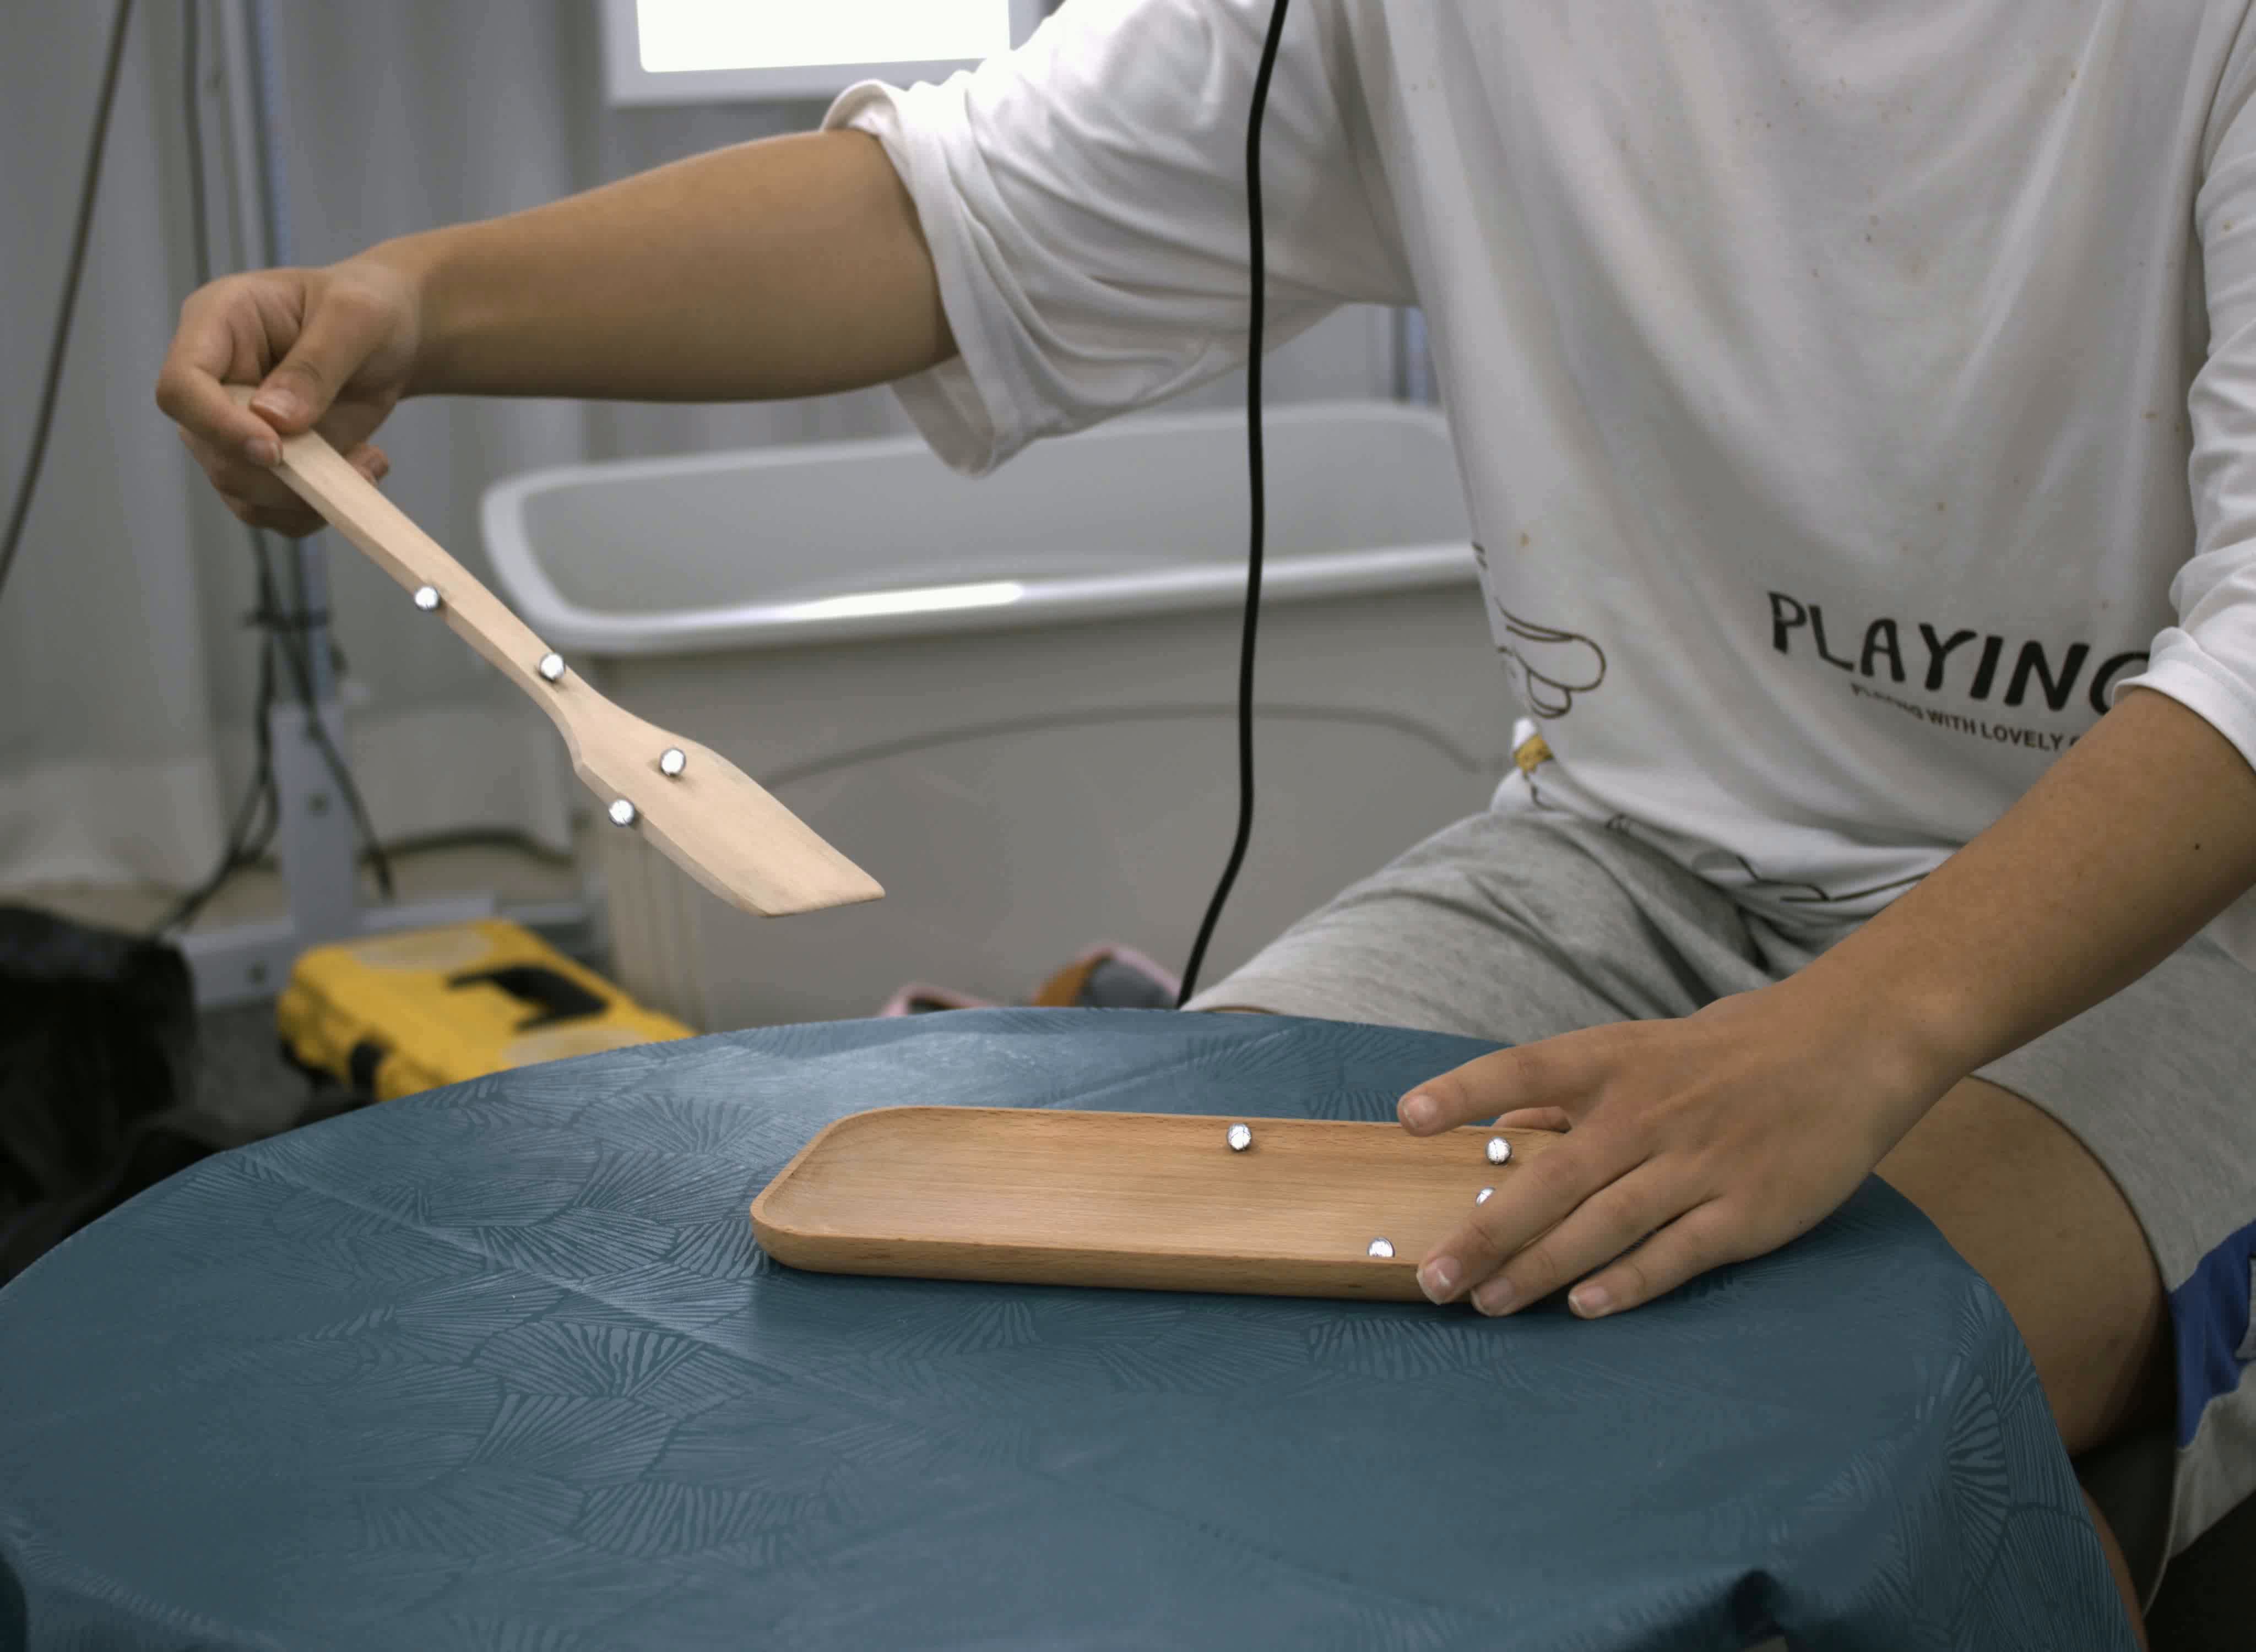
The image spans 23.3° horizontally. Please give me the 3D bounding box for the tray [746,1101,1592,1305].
[{"bbox_3d":[0.013,0.115,1.684,0.250,0.023,0.131,1,13,16],"label":"tray"}]

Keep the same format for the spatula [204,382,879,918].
[{"bbox_3d":[-0.200,-0.059,1.772,0.295,0.010,0.072,40,25,23],"label":"spatula"}]
